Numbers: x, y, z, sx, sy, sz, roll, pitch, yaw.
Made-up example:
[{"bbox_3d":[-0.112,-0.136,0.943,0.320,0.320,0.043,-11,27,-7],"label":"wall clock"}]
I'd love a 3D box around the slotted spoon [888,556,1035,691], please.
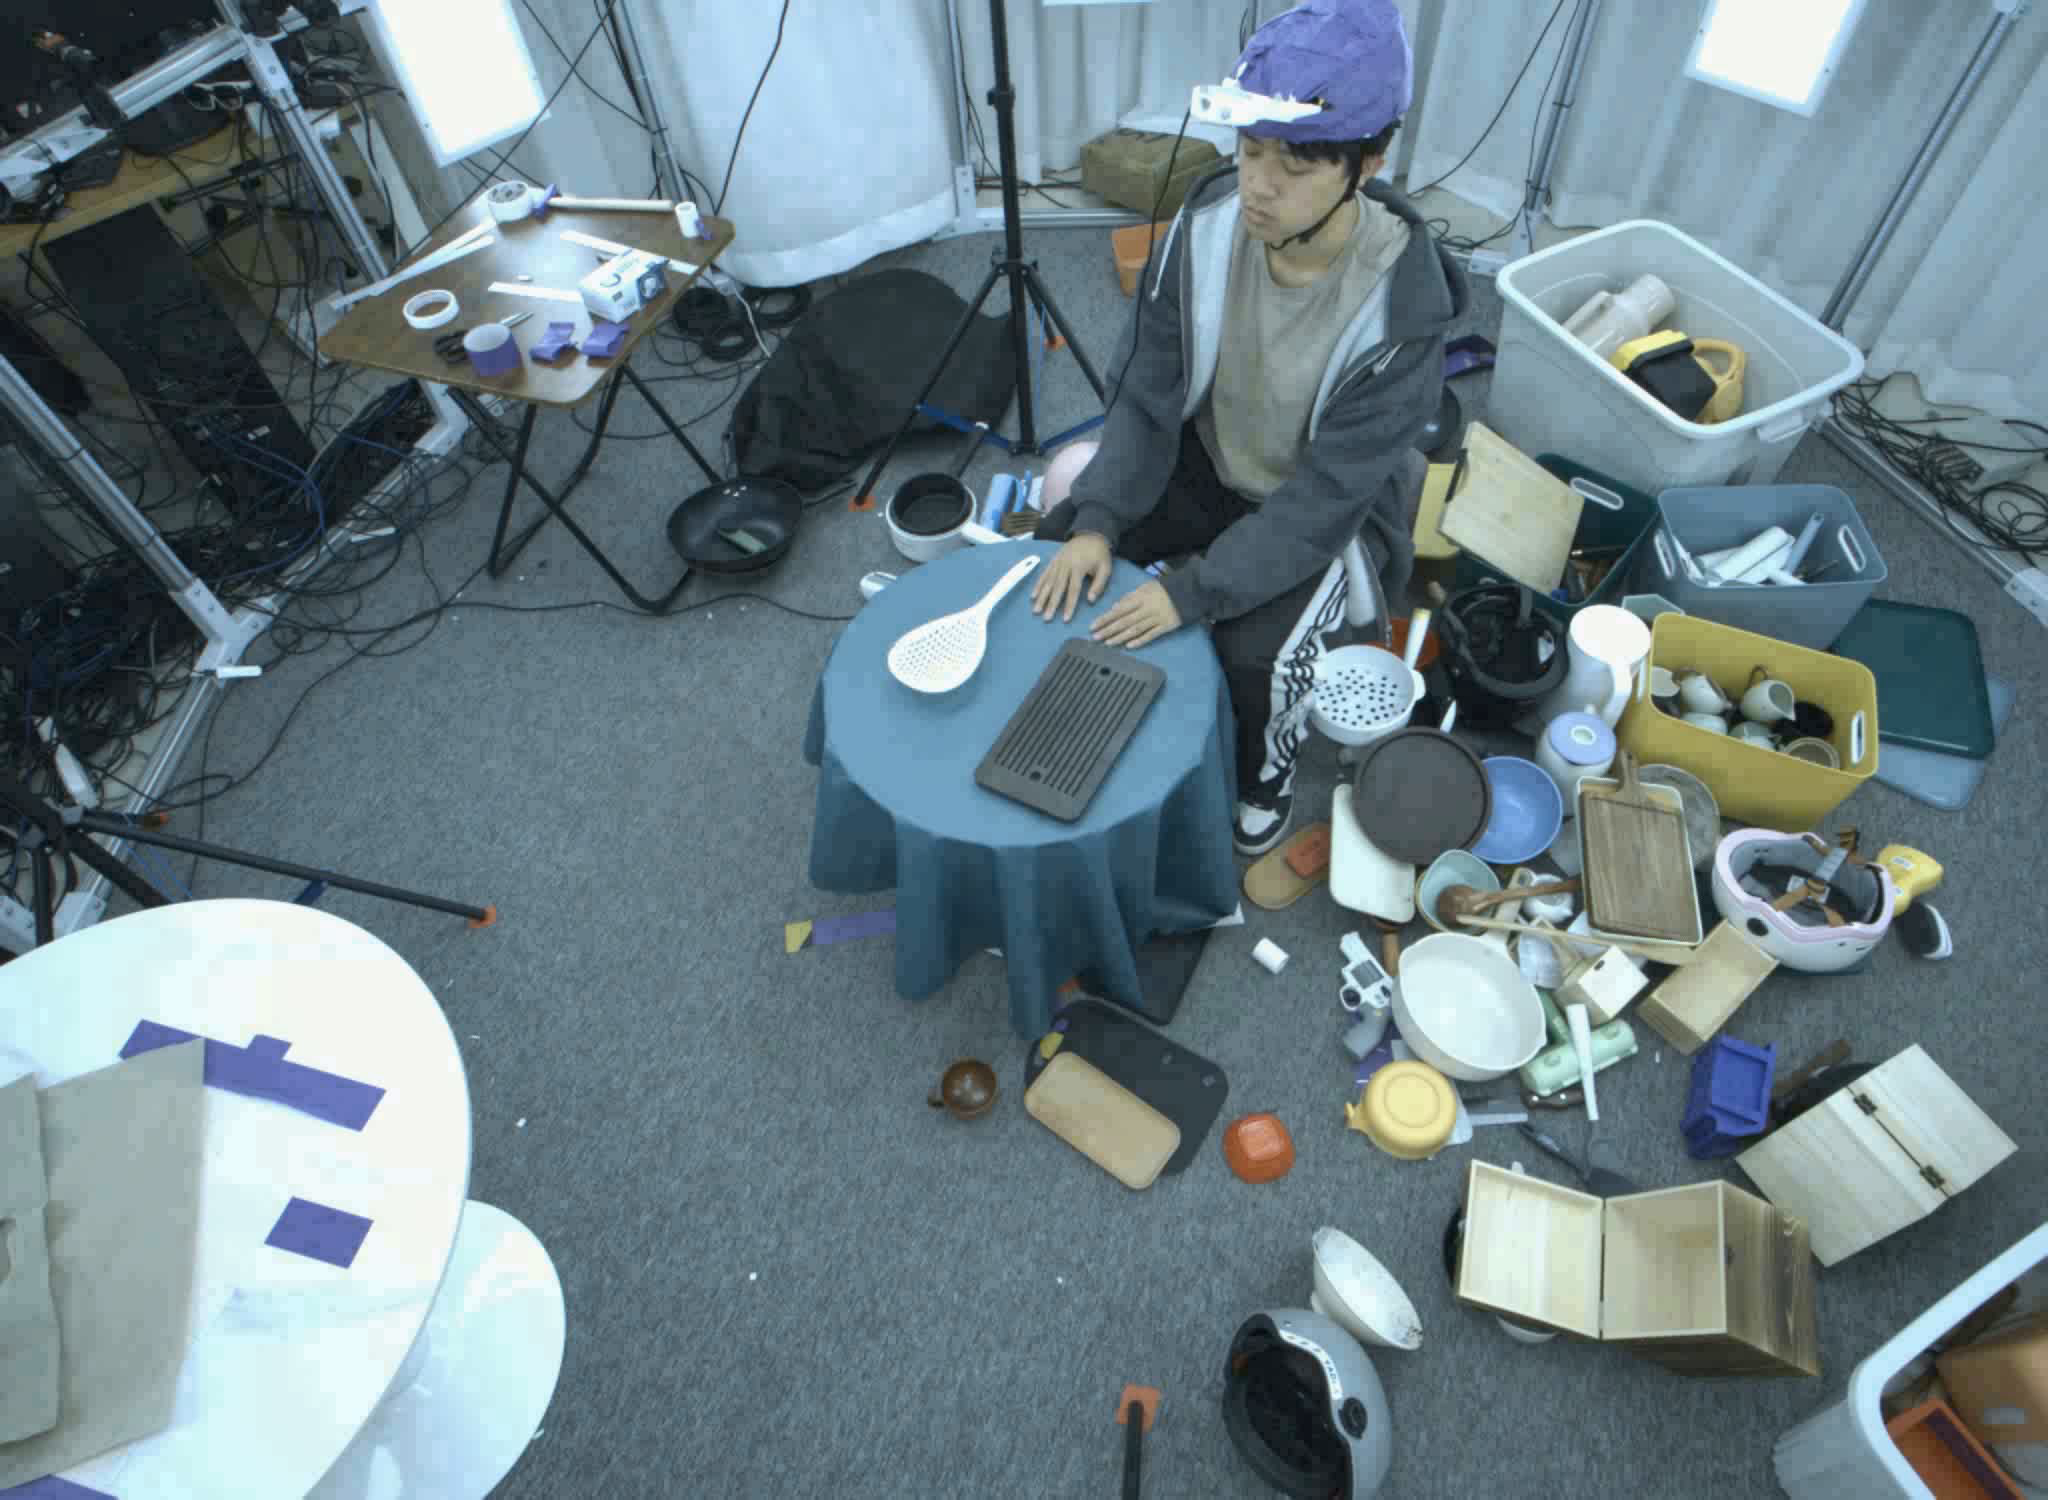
[{"bbox_3d":[-0.075,-0.206,1.913,0.134,0.051,0.349,25,59,21],"label":"slotted spoon"}]

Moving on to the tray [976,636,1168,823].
[{"bbox_3d":[0.074,-0.034,1.801,0.168,0.019,0.306,23,58,17],"label":"tray"}]
